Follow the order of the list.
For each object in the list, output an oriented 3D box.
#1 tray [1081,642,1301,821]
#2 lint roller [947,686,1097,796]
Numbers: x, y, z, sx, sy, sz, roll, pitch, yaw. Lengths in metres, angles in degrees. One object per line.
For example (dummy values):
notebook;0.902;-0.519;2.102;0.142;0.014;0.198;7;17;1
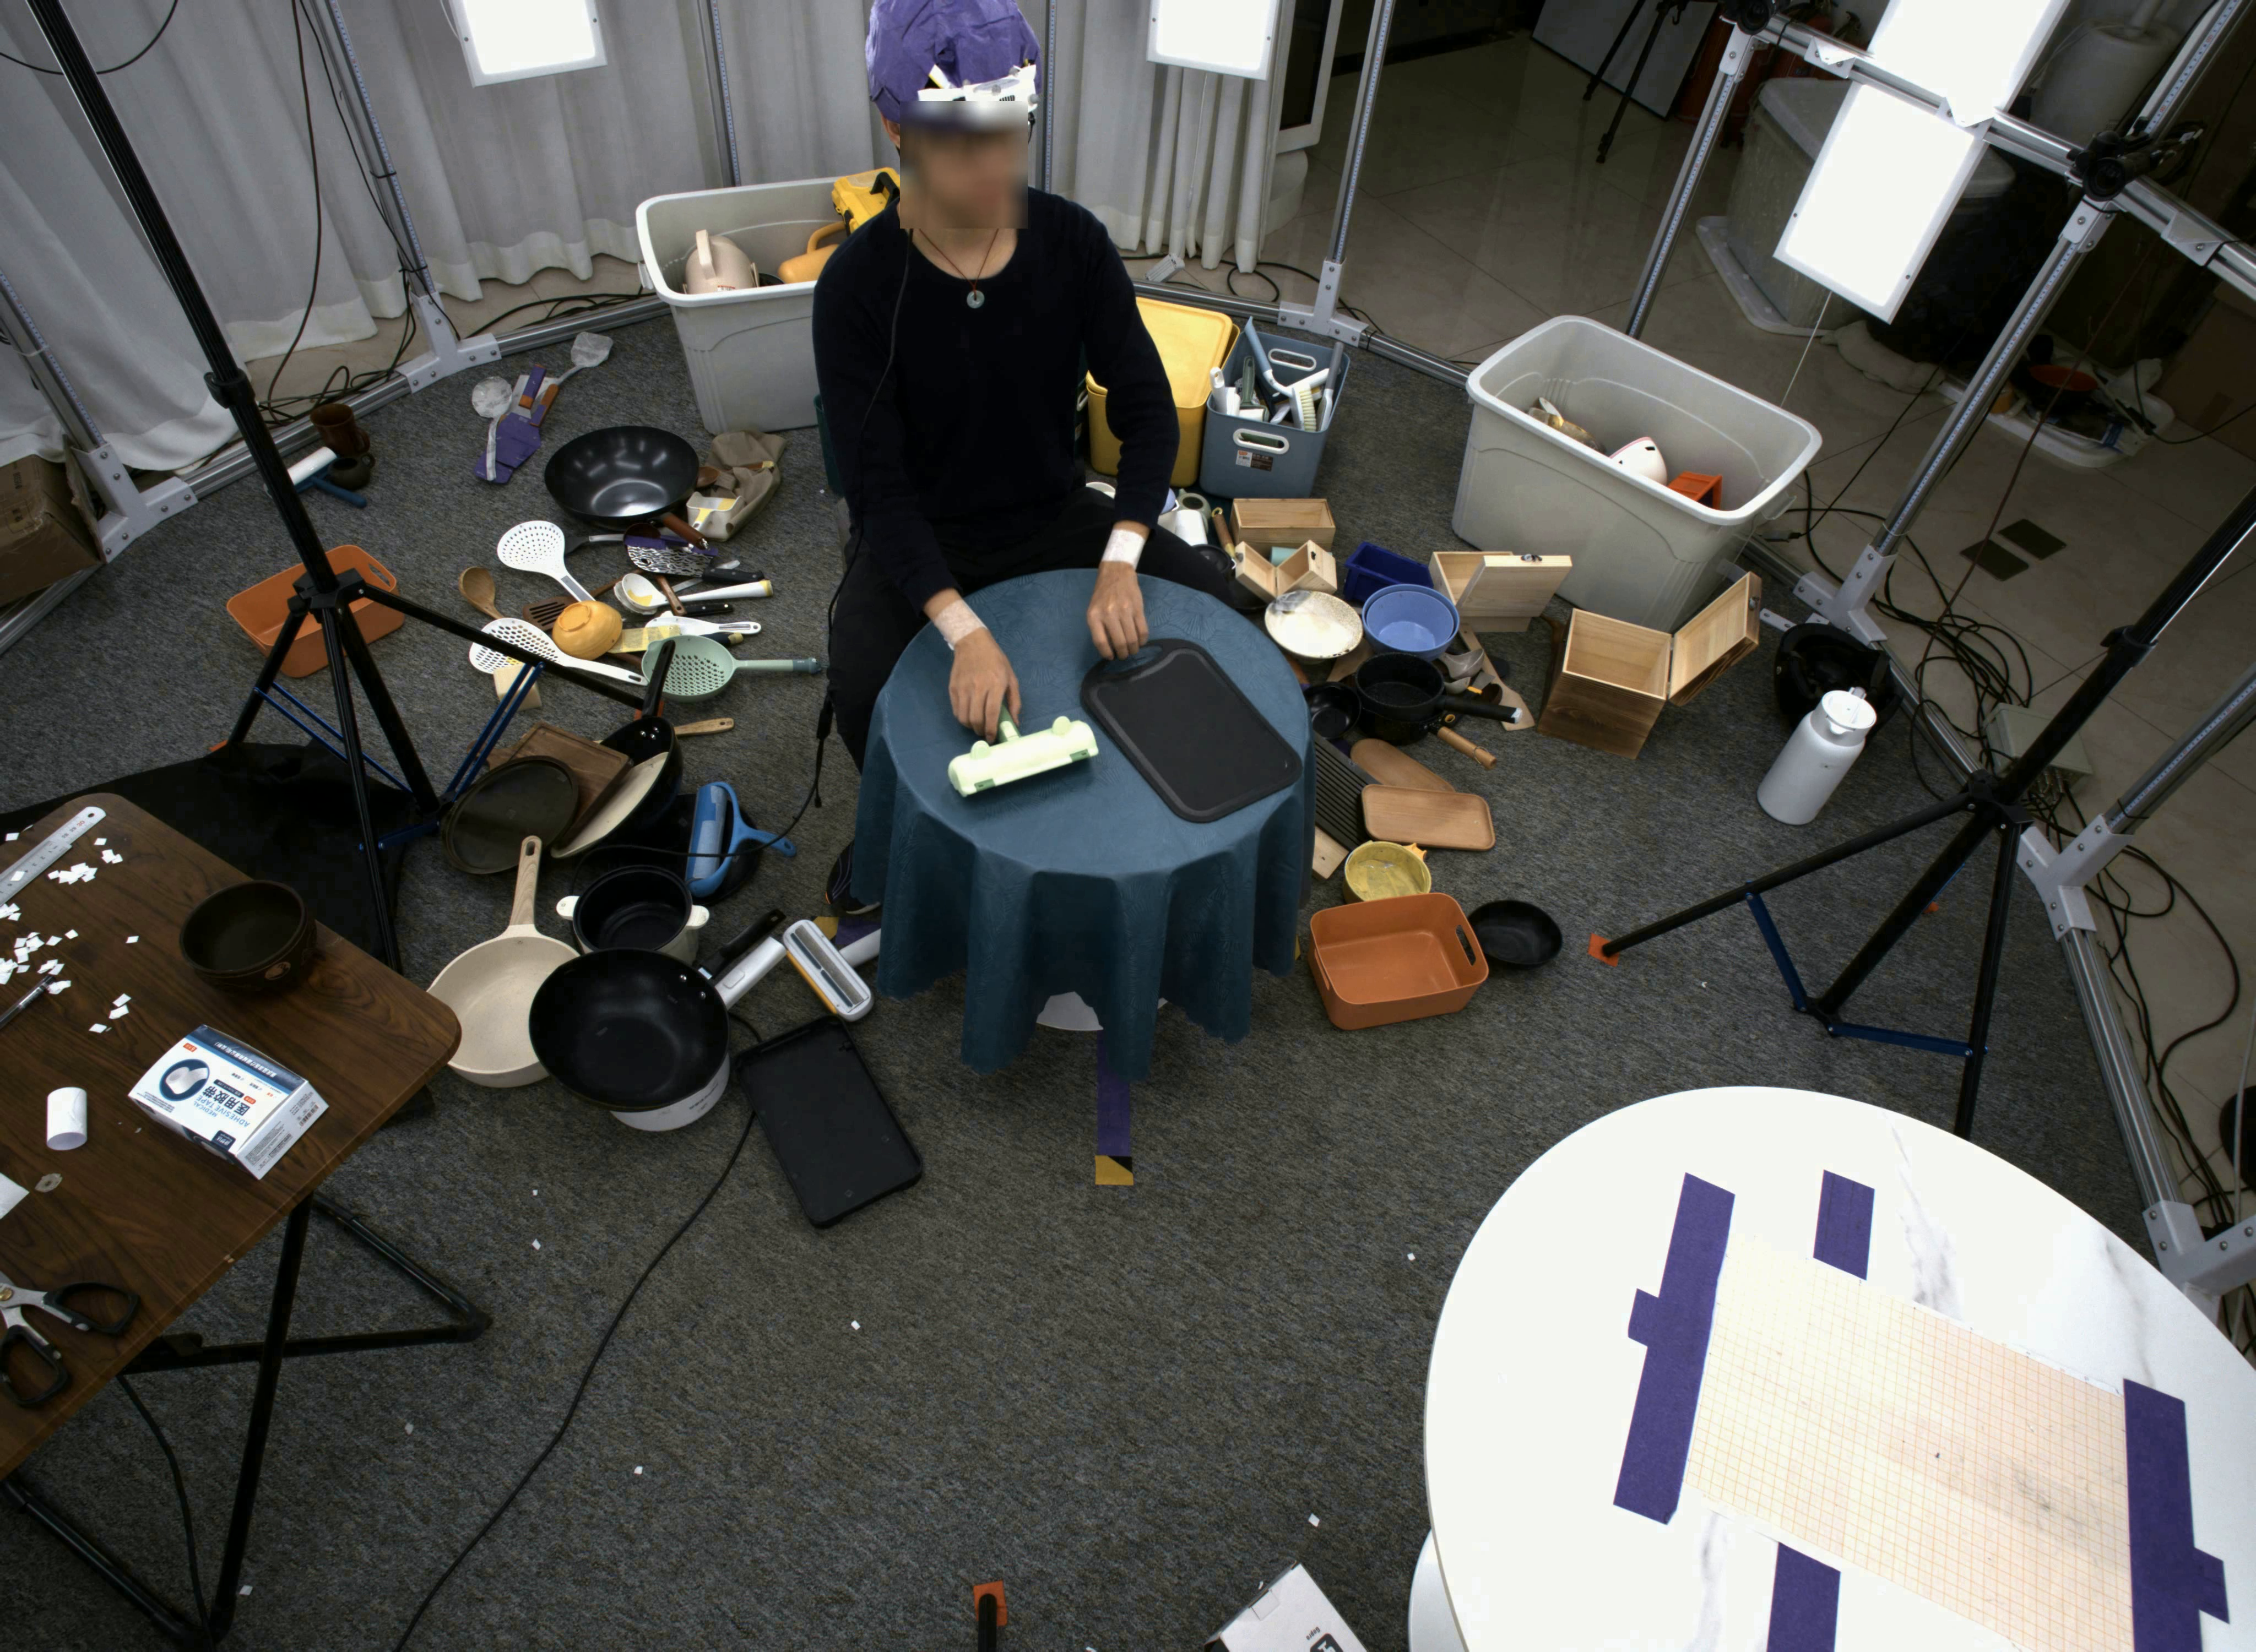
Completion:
tray;0.080;-0.144;1.791;0.212;0.009;0.332;-23;56;-23
lint roller;-0.164;-0.138;1.722;0.199;0.080;0.187;-18;59;-20
